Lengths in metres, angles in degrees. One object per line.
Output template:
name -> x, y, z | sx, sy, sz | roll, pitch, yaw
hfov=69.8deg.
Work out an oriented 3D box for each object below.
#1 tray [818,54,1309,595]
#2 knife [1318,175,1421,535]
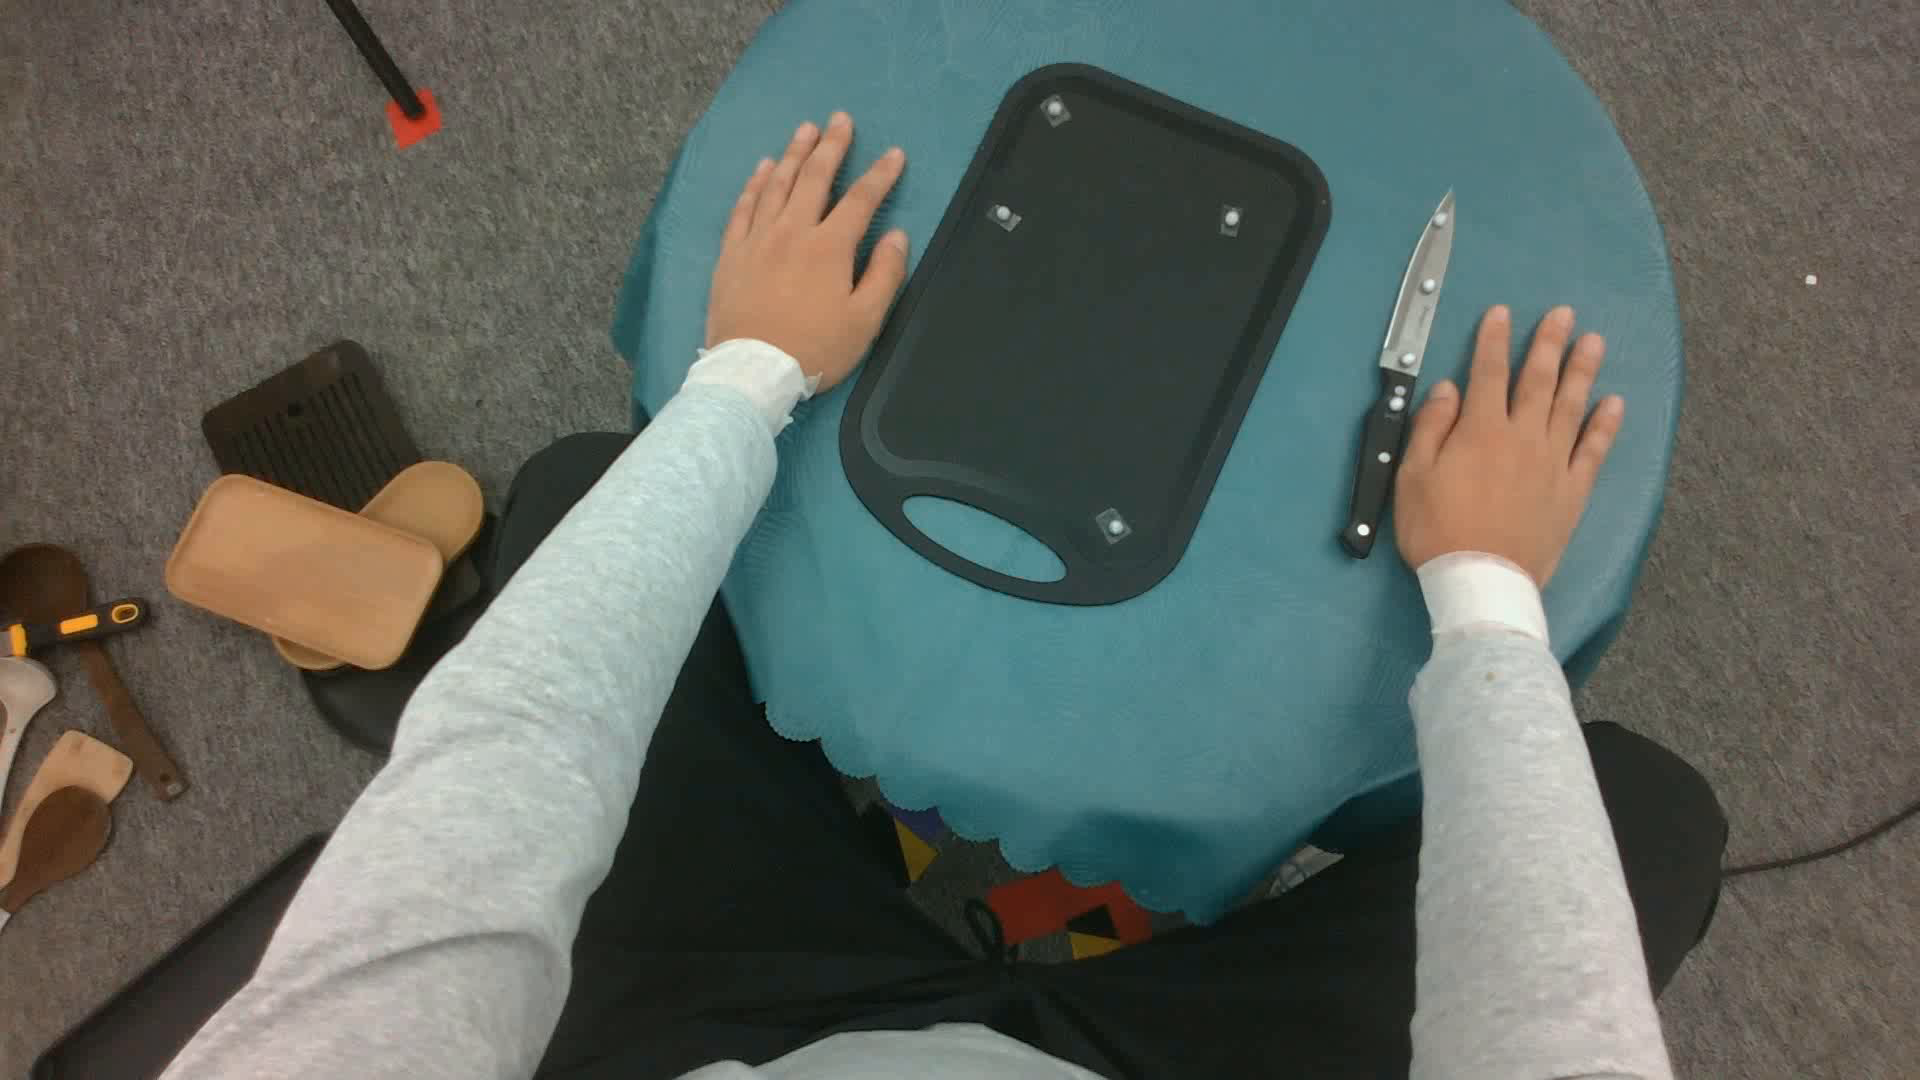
tray -> 0.060, -0.128, 0.794 | 0.211, 0.010, 0.326 | 24, 76, 6
knife -> 0.241, -0.110, 0.788 | 0.024, 0.016, 0.239 | 17, 72, 3
